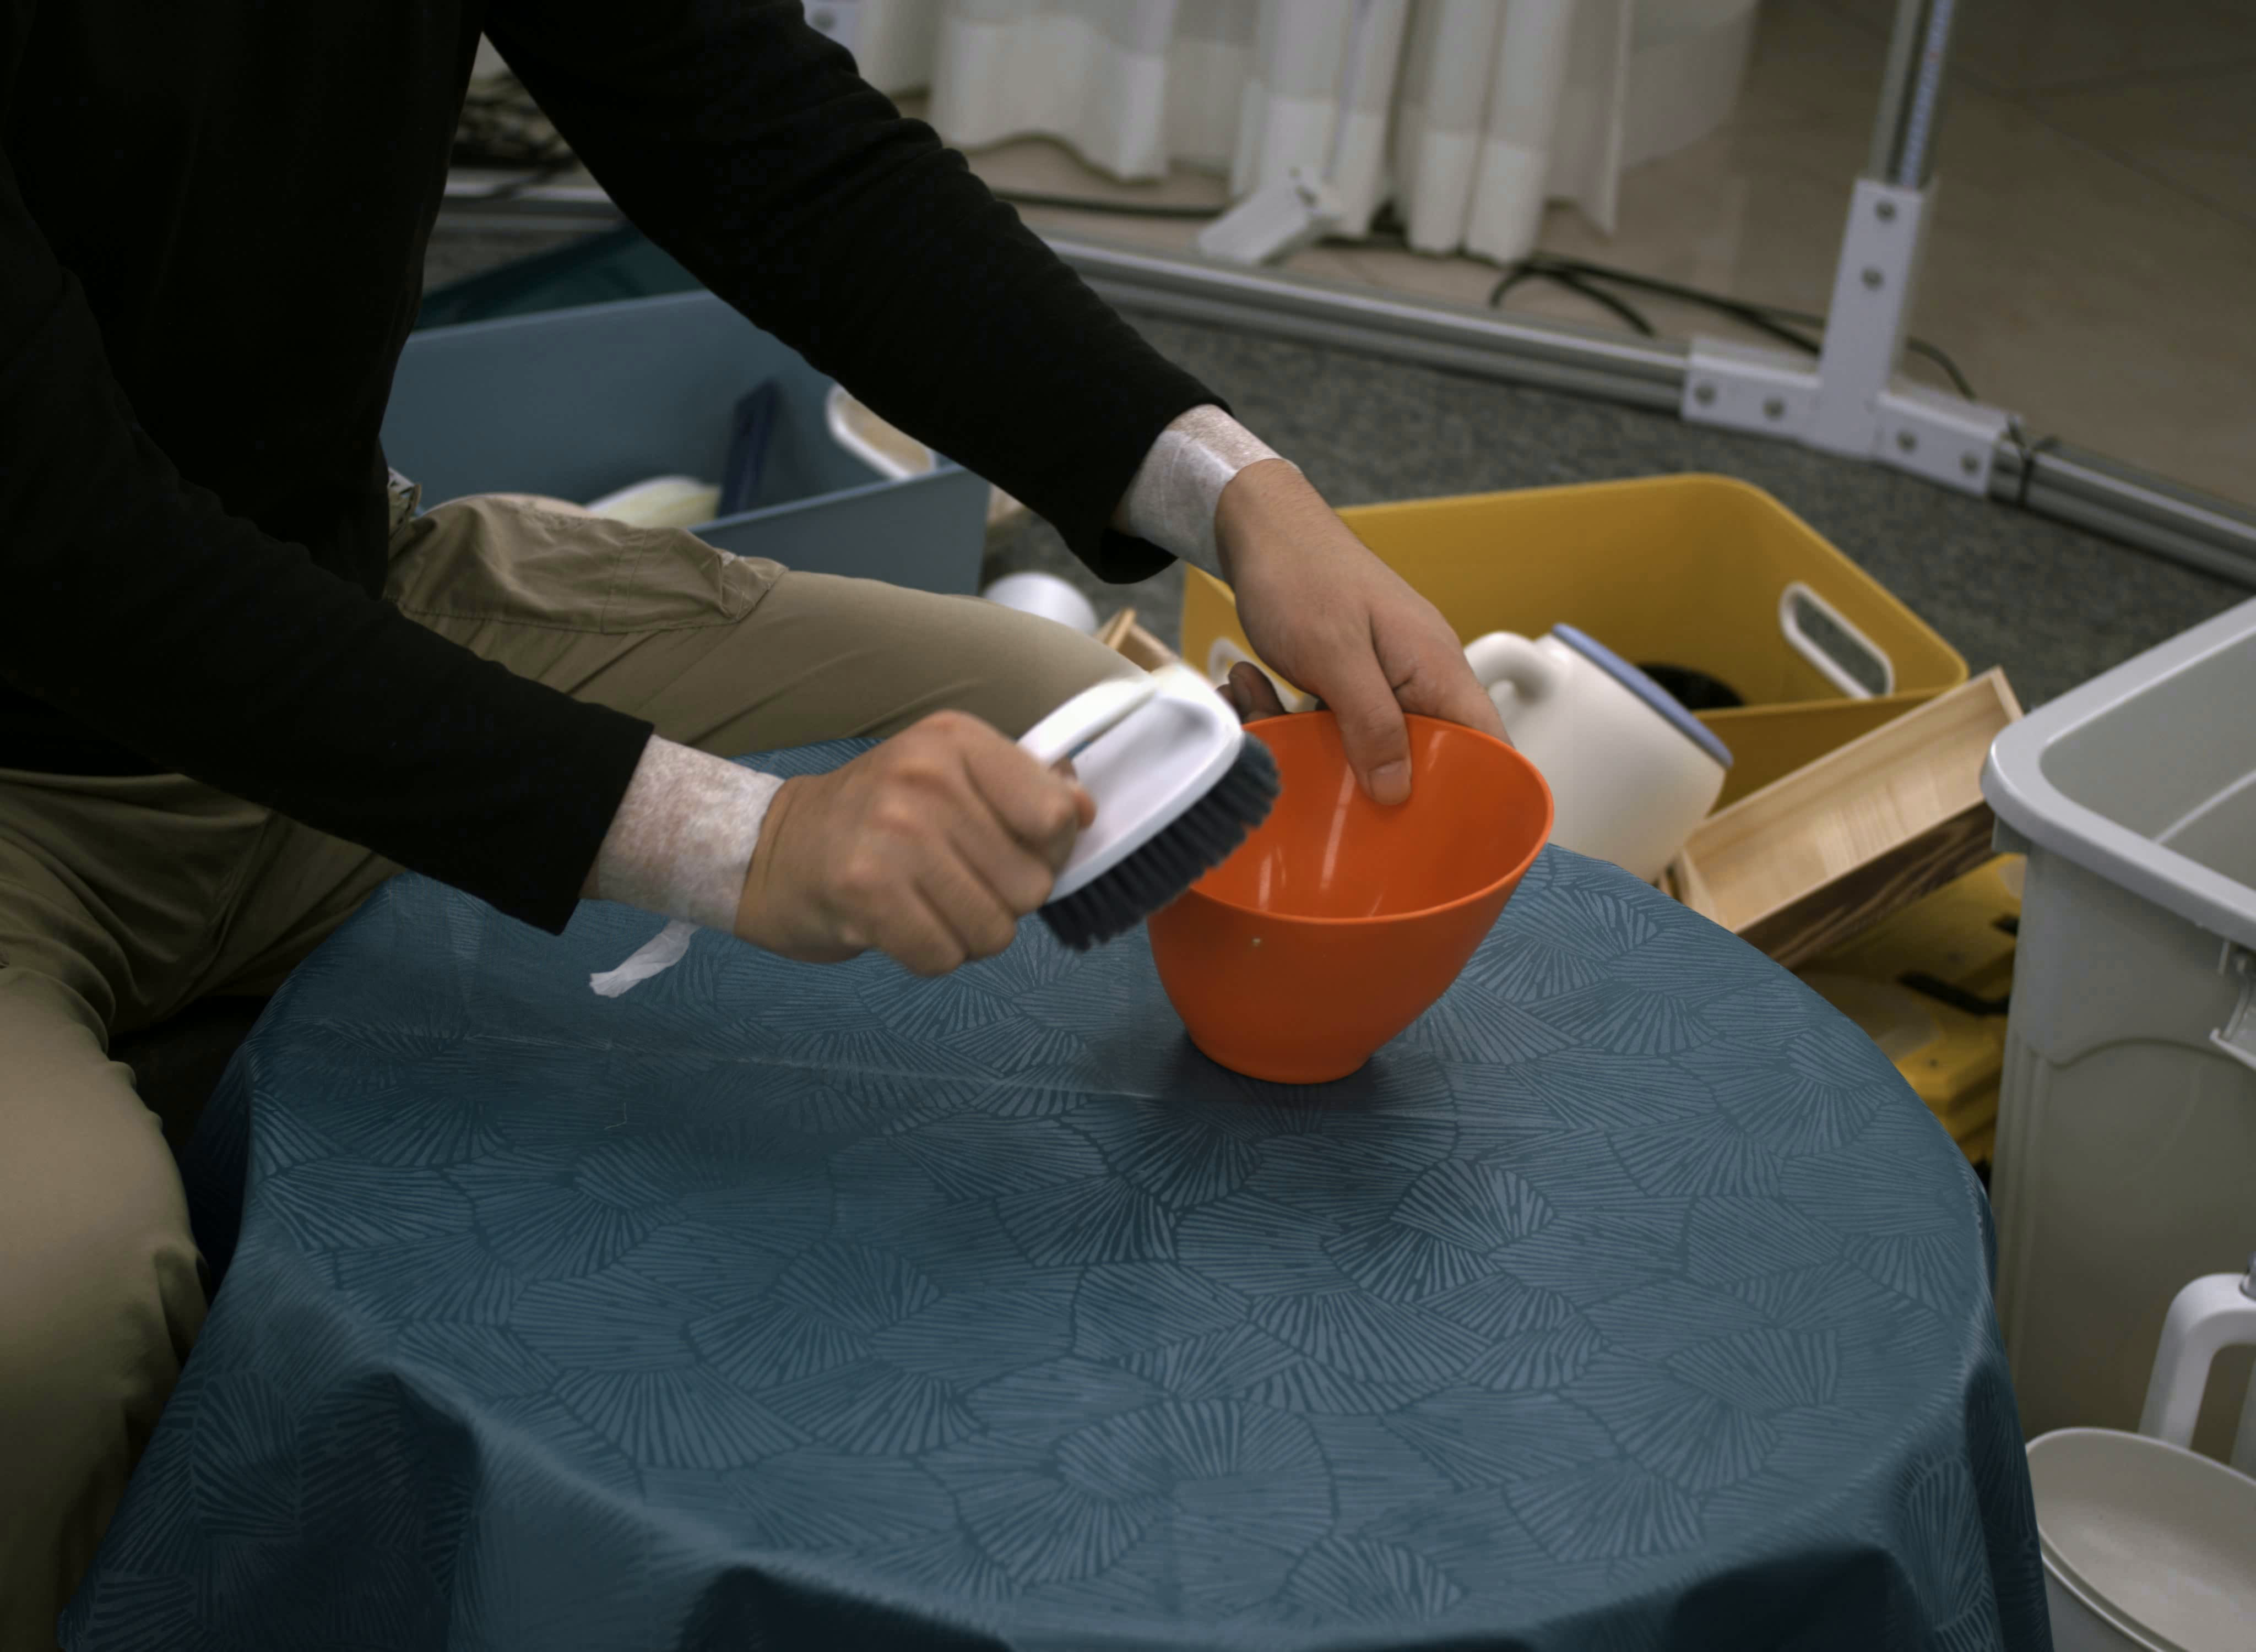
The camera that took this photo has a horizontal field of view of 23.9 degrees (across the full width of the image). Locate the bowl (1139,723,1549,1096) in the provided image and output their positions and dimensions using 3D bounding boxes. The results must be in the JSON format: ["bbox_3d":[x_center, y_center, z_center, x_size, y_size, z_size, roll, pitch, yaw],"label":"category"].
[{"bbox_3d":[0.070,0.034,1.886,0.147,0.104,0.149,5,26,-3],"label":"bowl"}]

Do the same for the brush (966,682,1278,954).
[{"bbox_3d":[-0.009,-0.009,1.776,0.099,0.072,0.051,-34,42,11],"label":"brush"}]
